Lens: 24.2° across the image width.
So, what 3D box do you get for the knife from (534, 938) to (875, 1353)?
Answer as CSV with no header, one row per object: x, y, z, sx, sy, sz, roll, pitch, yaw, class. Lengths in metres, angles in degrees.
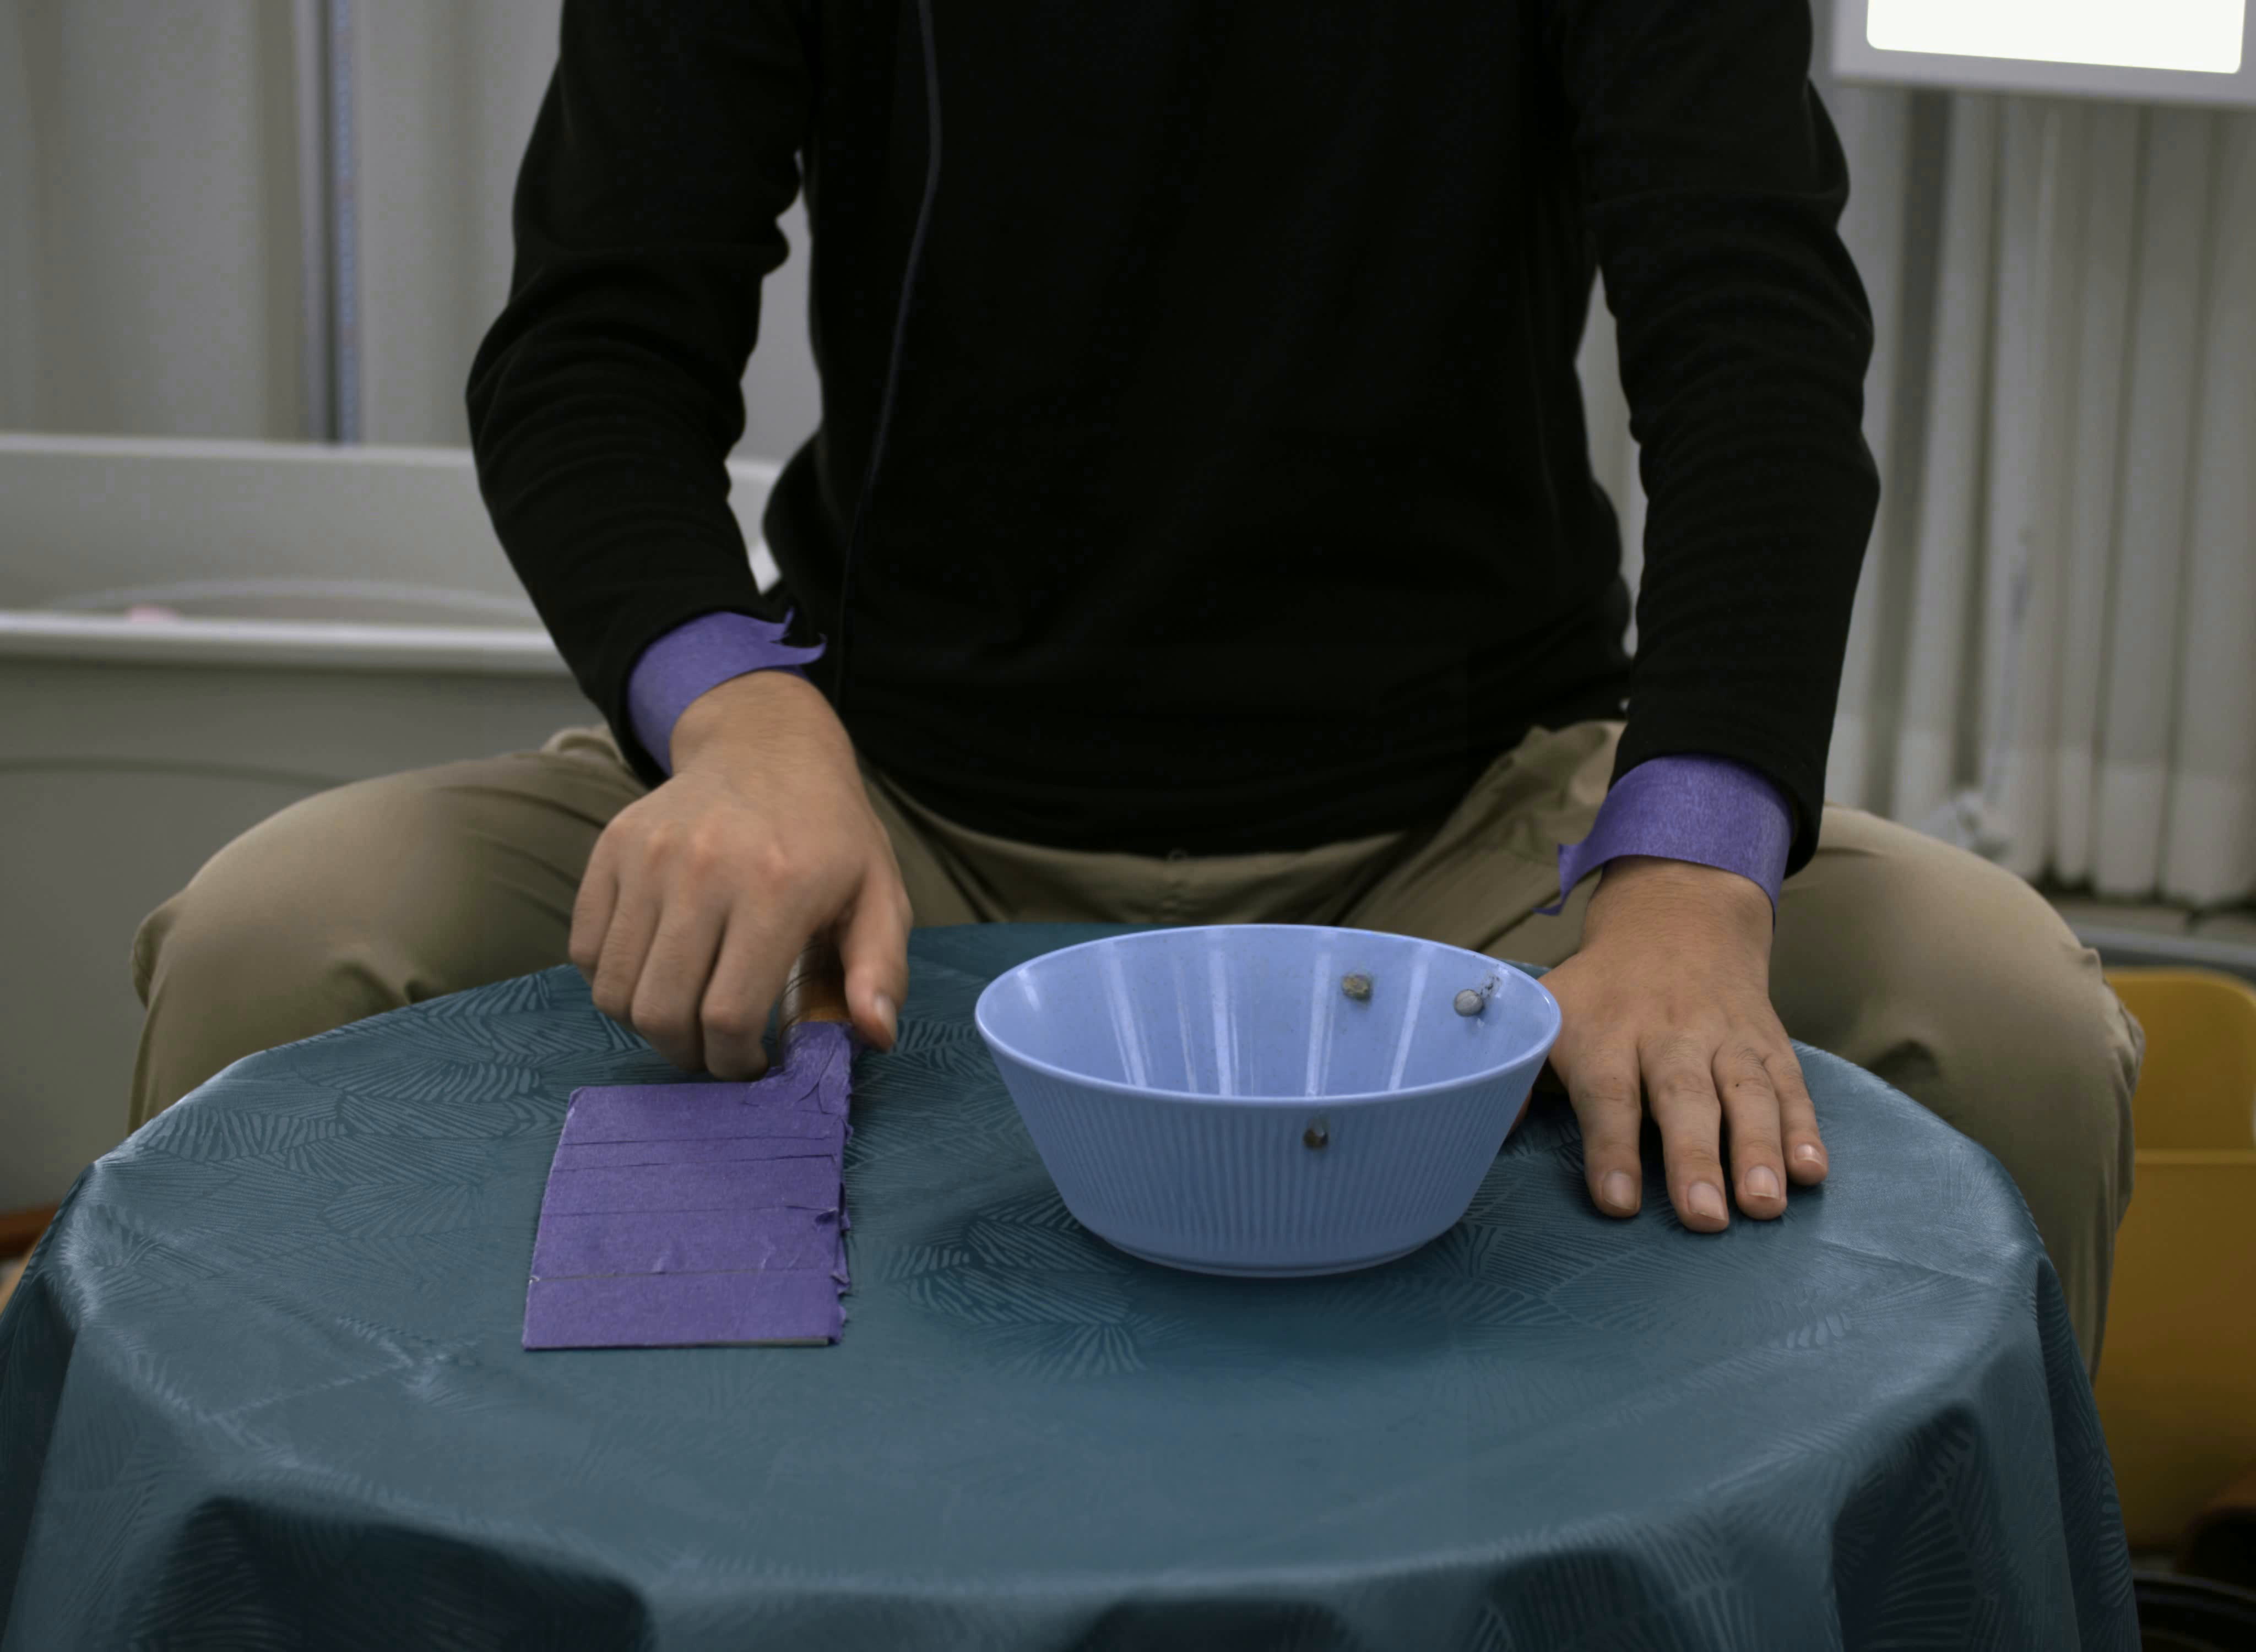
-0.129,0.095,1.632,0.103,0.032,0.313,0,16,-2,knife

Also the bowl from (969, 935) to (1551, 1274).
0.039,0.086,1.587,0.175,0.071,0.175,2,14,0,bowl
